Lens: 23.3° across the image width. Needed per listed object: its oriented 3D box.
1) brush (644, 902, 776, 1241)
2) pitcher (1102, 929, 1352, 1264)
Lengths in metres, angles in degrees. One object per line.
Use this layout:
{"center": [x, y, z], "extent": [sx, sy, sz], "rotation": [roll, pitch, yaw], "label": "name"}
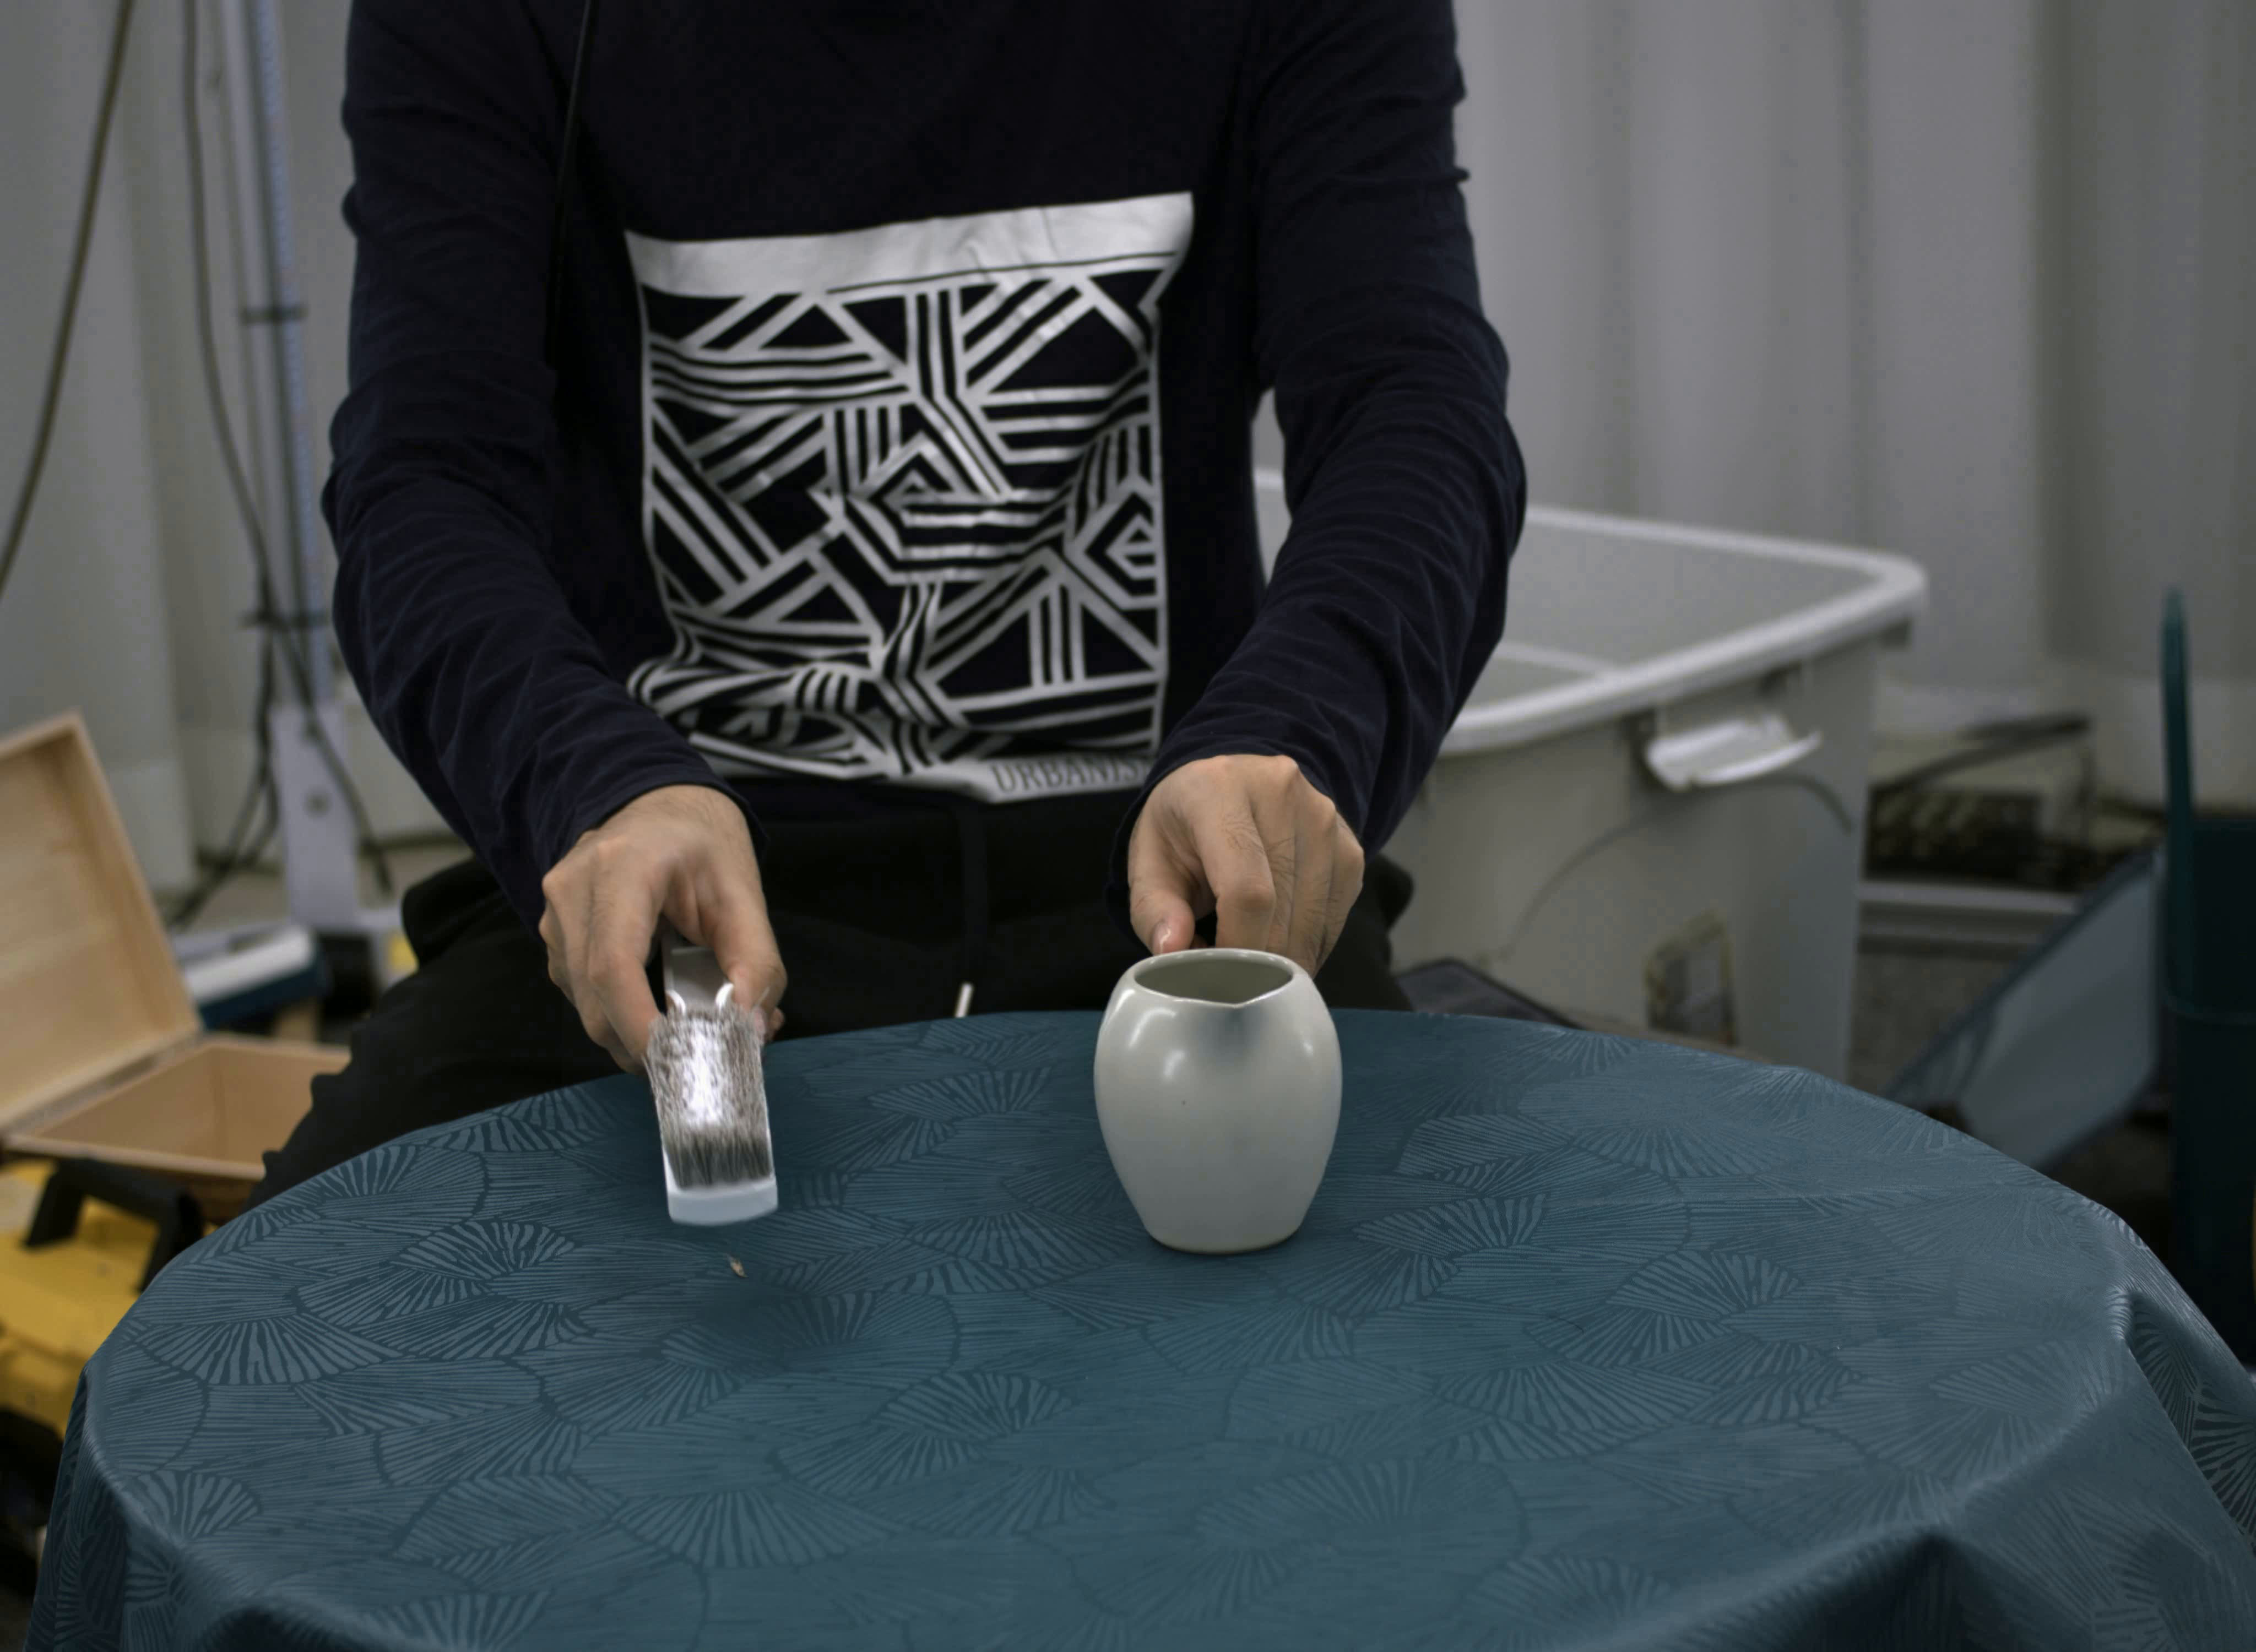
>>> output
{"center": [-0.128, 0.057, 1.701], "extent": [0.034, 0.050, 0.246], "rotation": [-9, 23, 0], "label": "brush"}
{"center": [0.029, 0.081, 1.662], "extent": [0.075, 0.087, 0.120], "rotation": [0, 17, -5], "label": "pitcher"}
